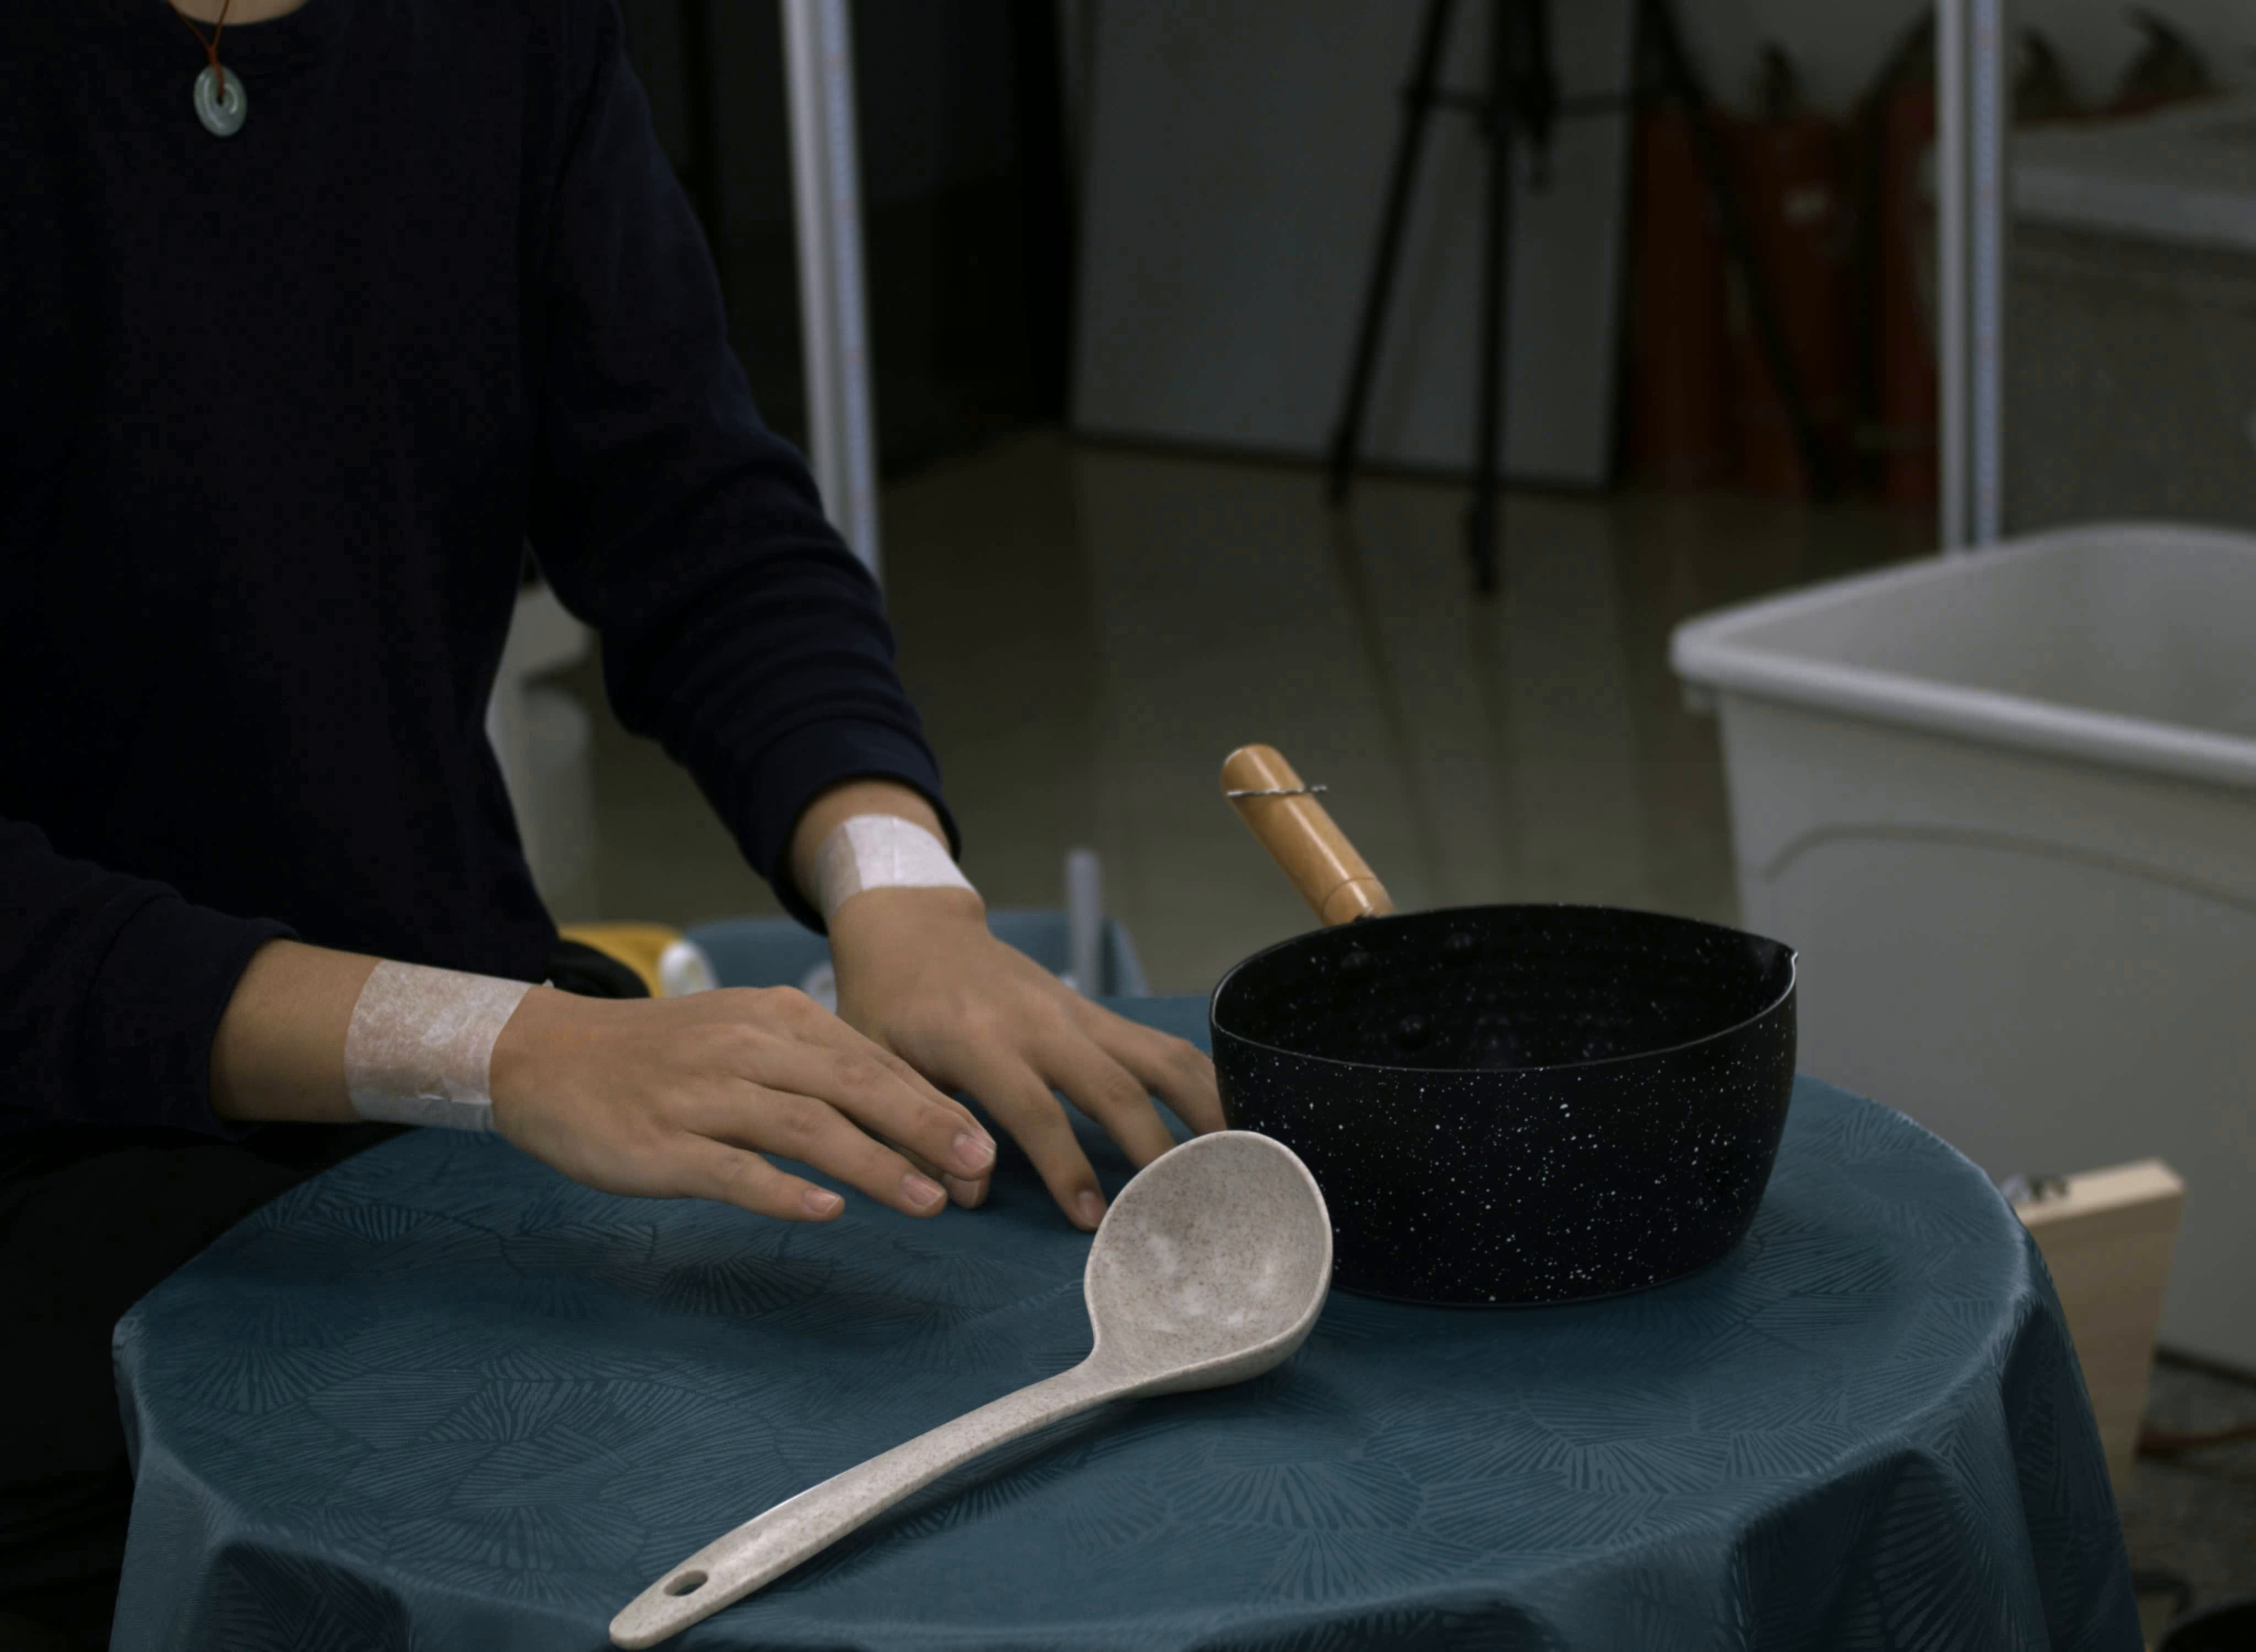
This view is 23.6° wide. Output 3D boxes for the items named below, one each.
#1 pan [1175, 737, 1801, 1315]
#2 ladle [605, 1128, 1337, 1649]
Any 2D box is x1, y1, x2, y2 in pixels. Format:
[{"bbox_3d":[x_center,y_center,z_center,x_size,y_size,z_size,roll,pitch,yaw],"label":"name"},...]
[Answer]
[{"bbox_3d":[0.094,0.060,1.764,0.203,0.109,0.346,-9,16,-16],"label":"pan"},{"bbox_3d":[-0.046,0.153,1.512,0.090,0.070,0.269,15,23,39],"label":"ladle"}]
